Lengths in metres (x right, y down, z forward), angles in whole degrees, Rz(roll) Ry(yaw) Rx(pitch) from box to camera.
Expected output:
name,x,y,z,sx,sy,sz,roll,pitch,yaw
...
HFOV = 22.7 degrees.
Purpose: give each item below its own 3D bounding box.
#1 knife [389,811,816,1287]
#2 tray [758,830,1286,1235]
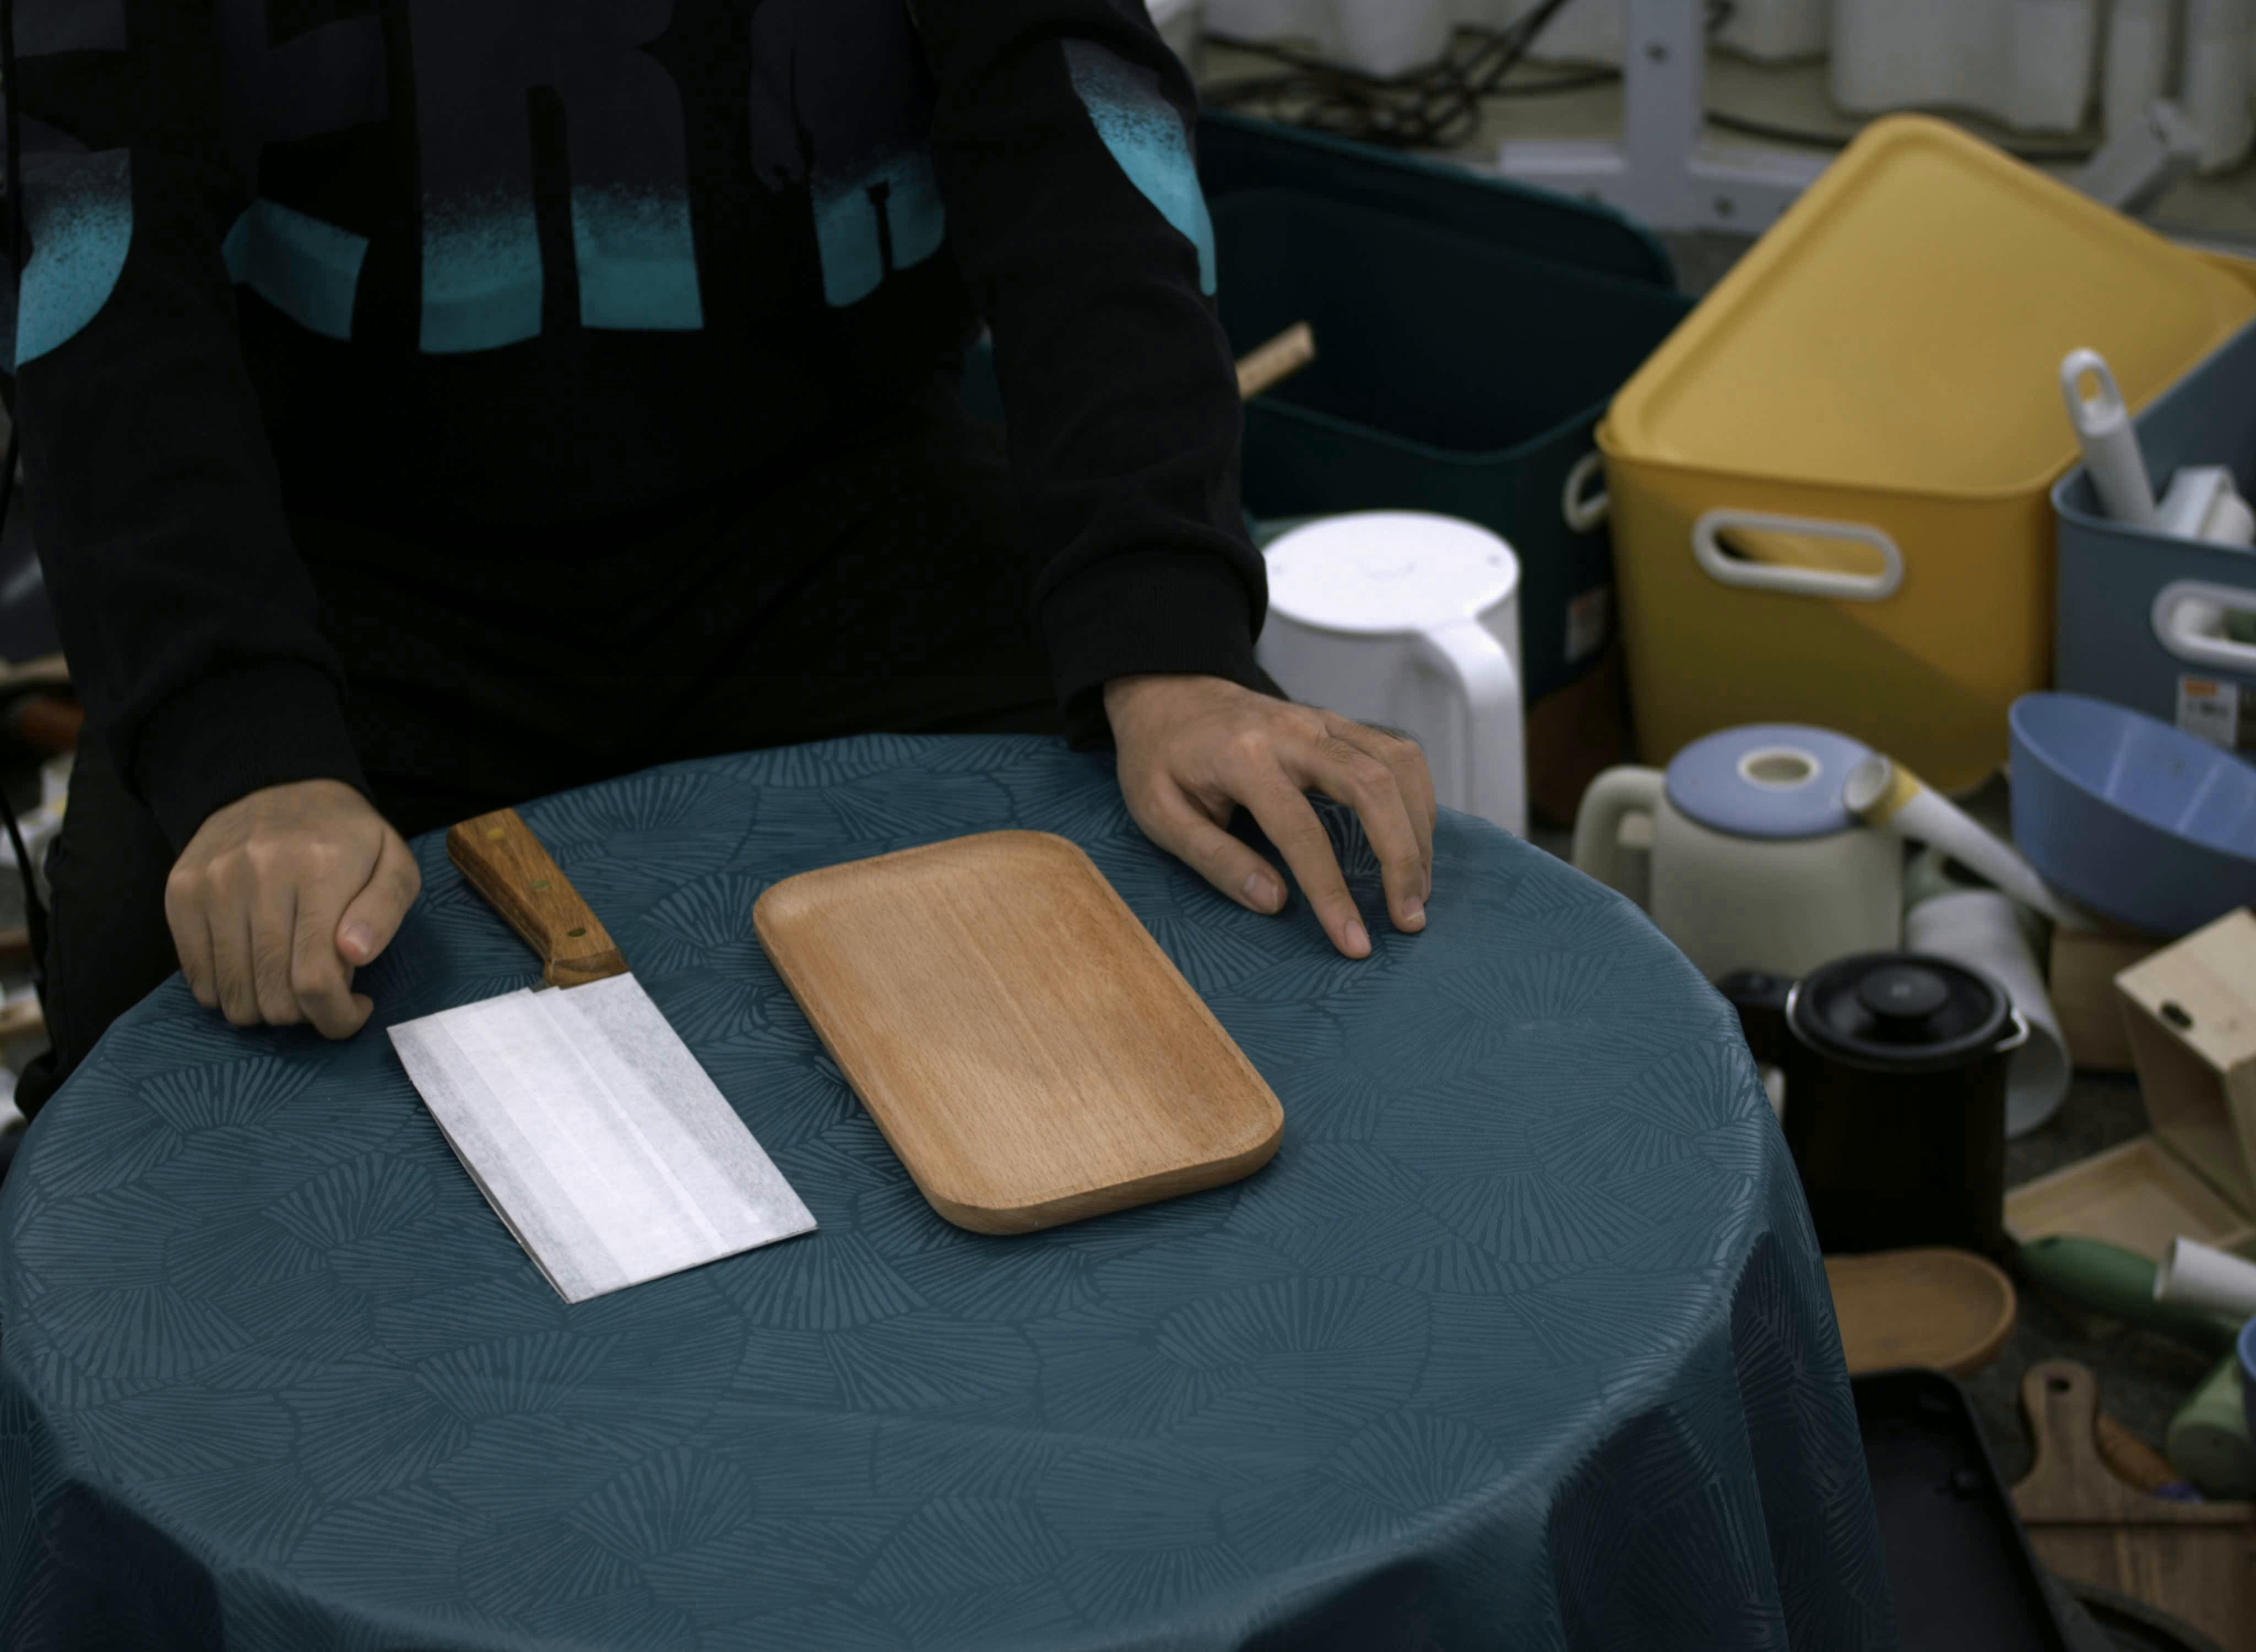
name,x,y,z,sx,sy,sz,roll,pitch,yaw
knife,-0.203,0.077,1.952,0.093,0.021,0.308,-16,32,-19
tray,-0.040,0.069,1.950,0.131,0.022,0.253,-9,27,-16
